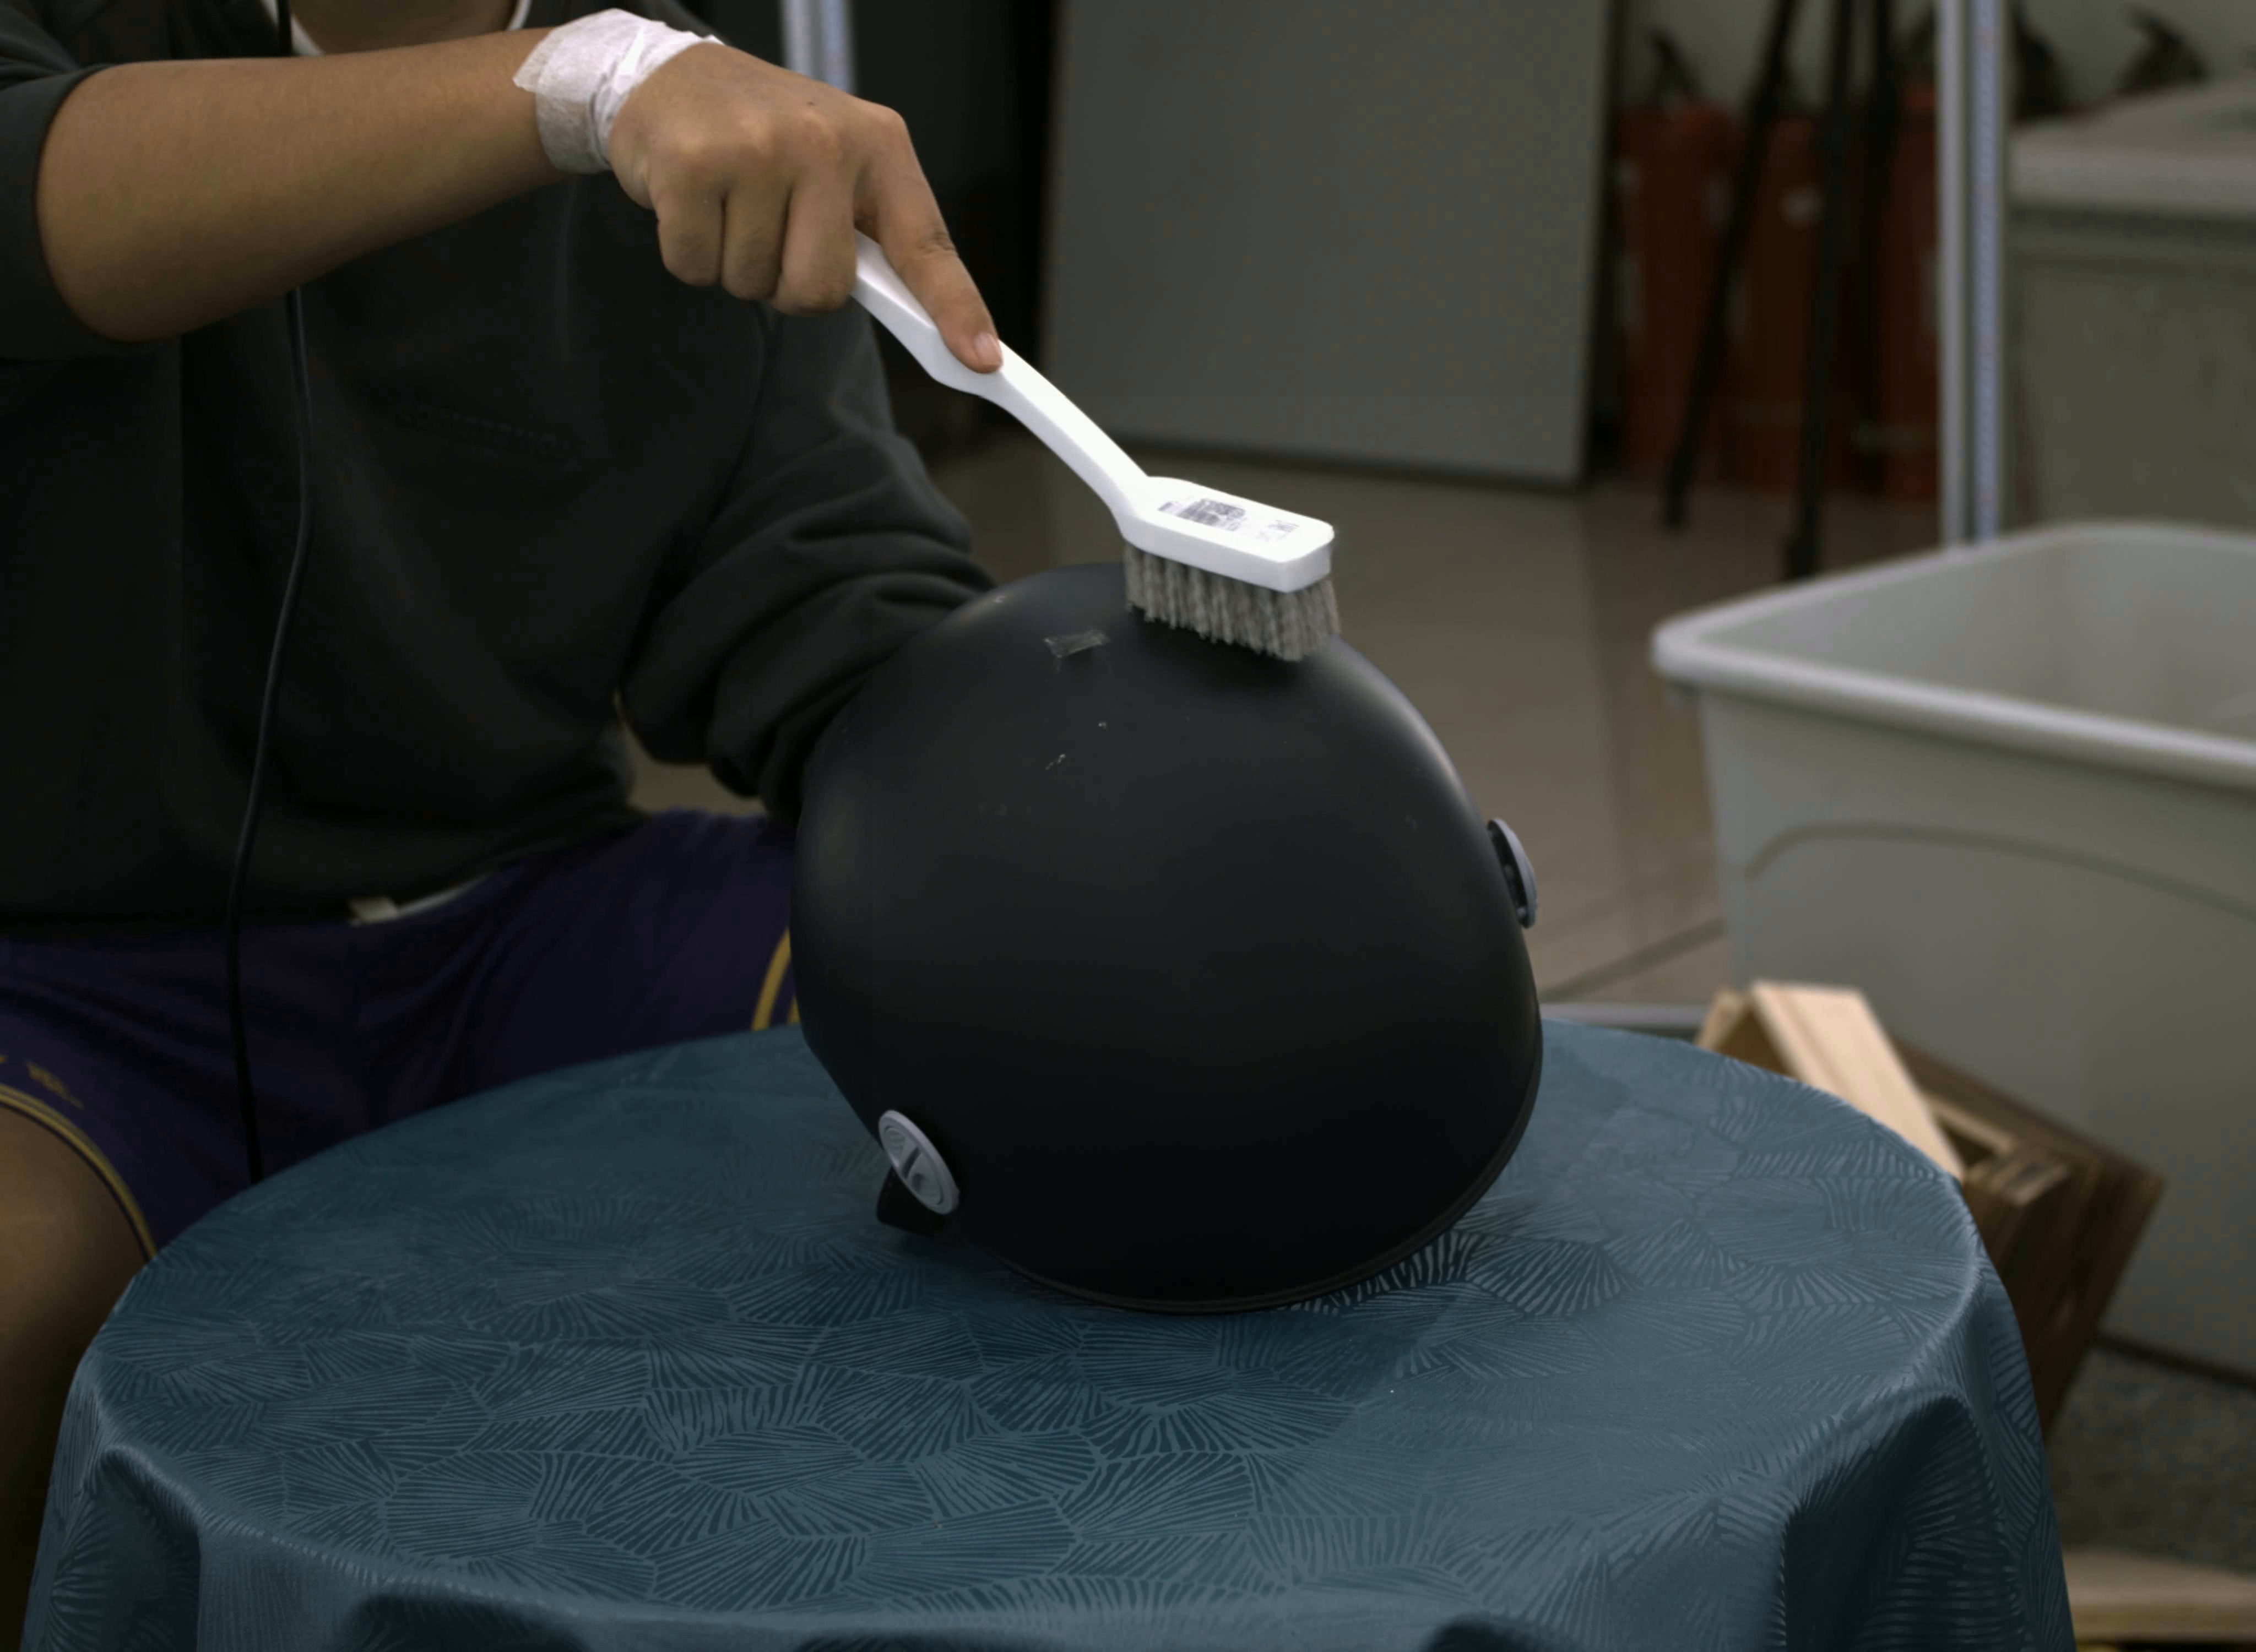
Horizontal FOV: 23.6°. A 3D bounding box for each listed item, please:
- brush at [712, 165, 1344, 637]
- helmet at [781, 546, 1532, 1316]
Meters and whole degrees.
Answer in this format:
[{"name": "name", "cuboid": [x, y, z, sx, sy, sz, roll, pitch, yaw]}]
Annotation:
[{"name": "brush", "cuboid": [-0.035, -0.130, 1.688, 0.244, 0.051, 0.034, 32, 36, 16]}, {"name": "helmet", "cuboid": [0.003, 0.012, 1.701, 0.227, 0.167, 0.276, -25, 40, -13]}]
